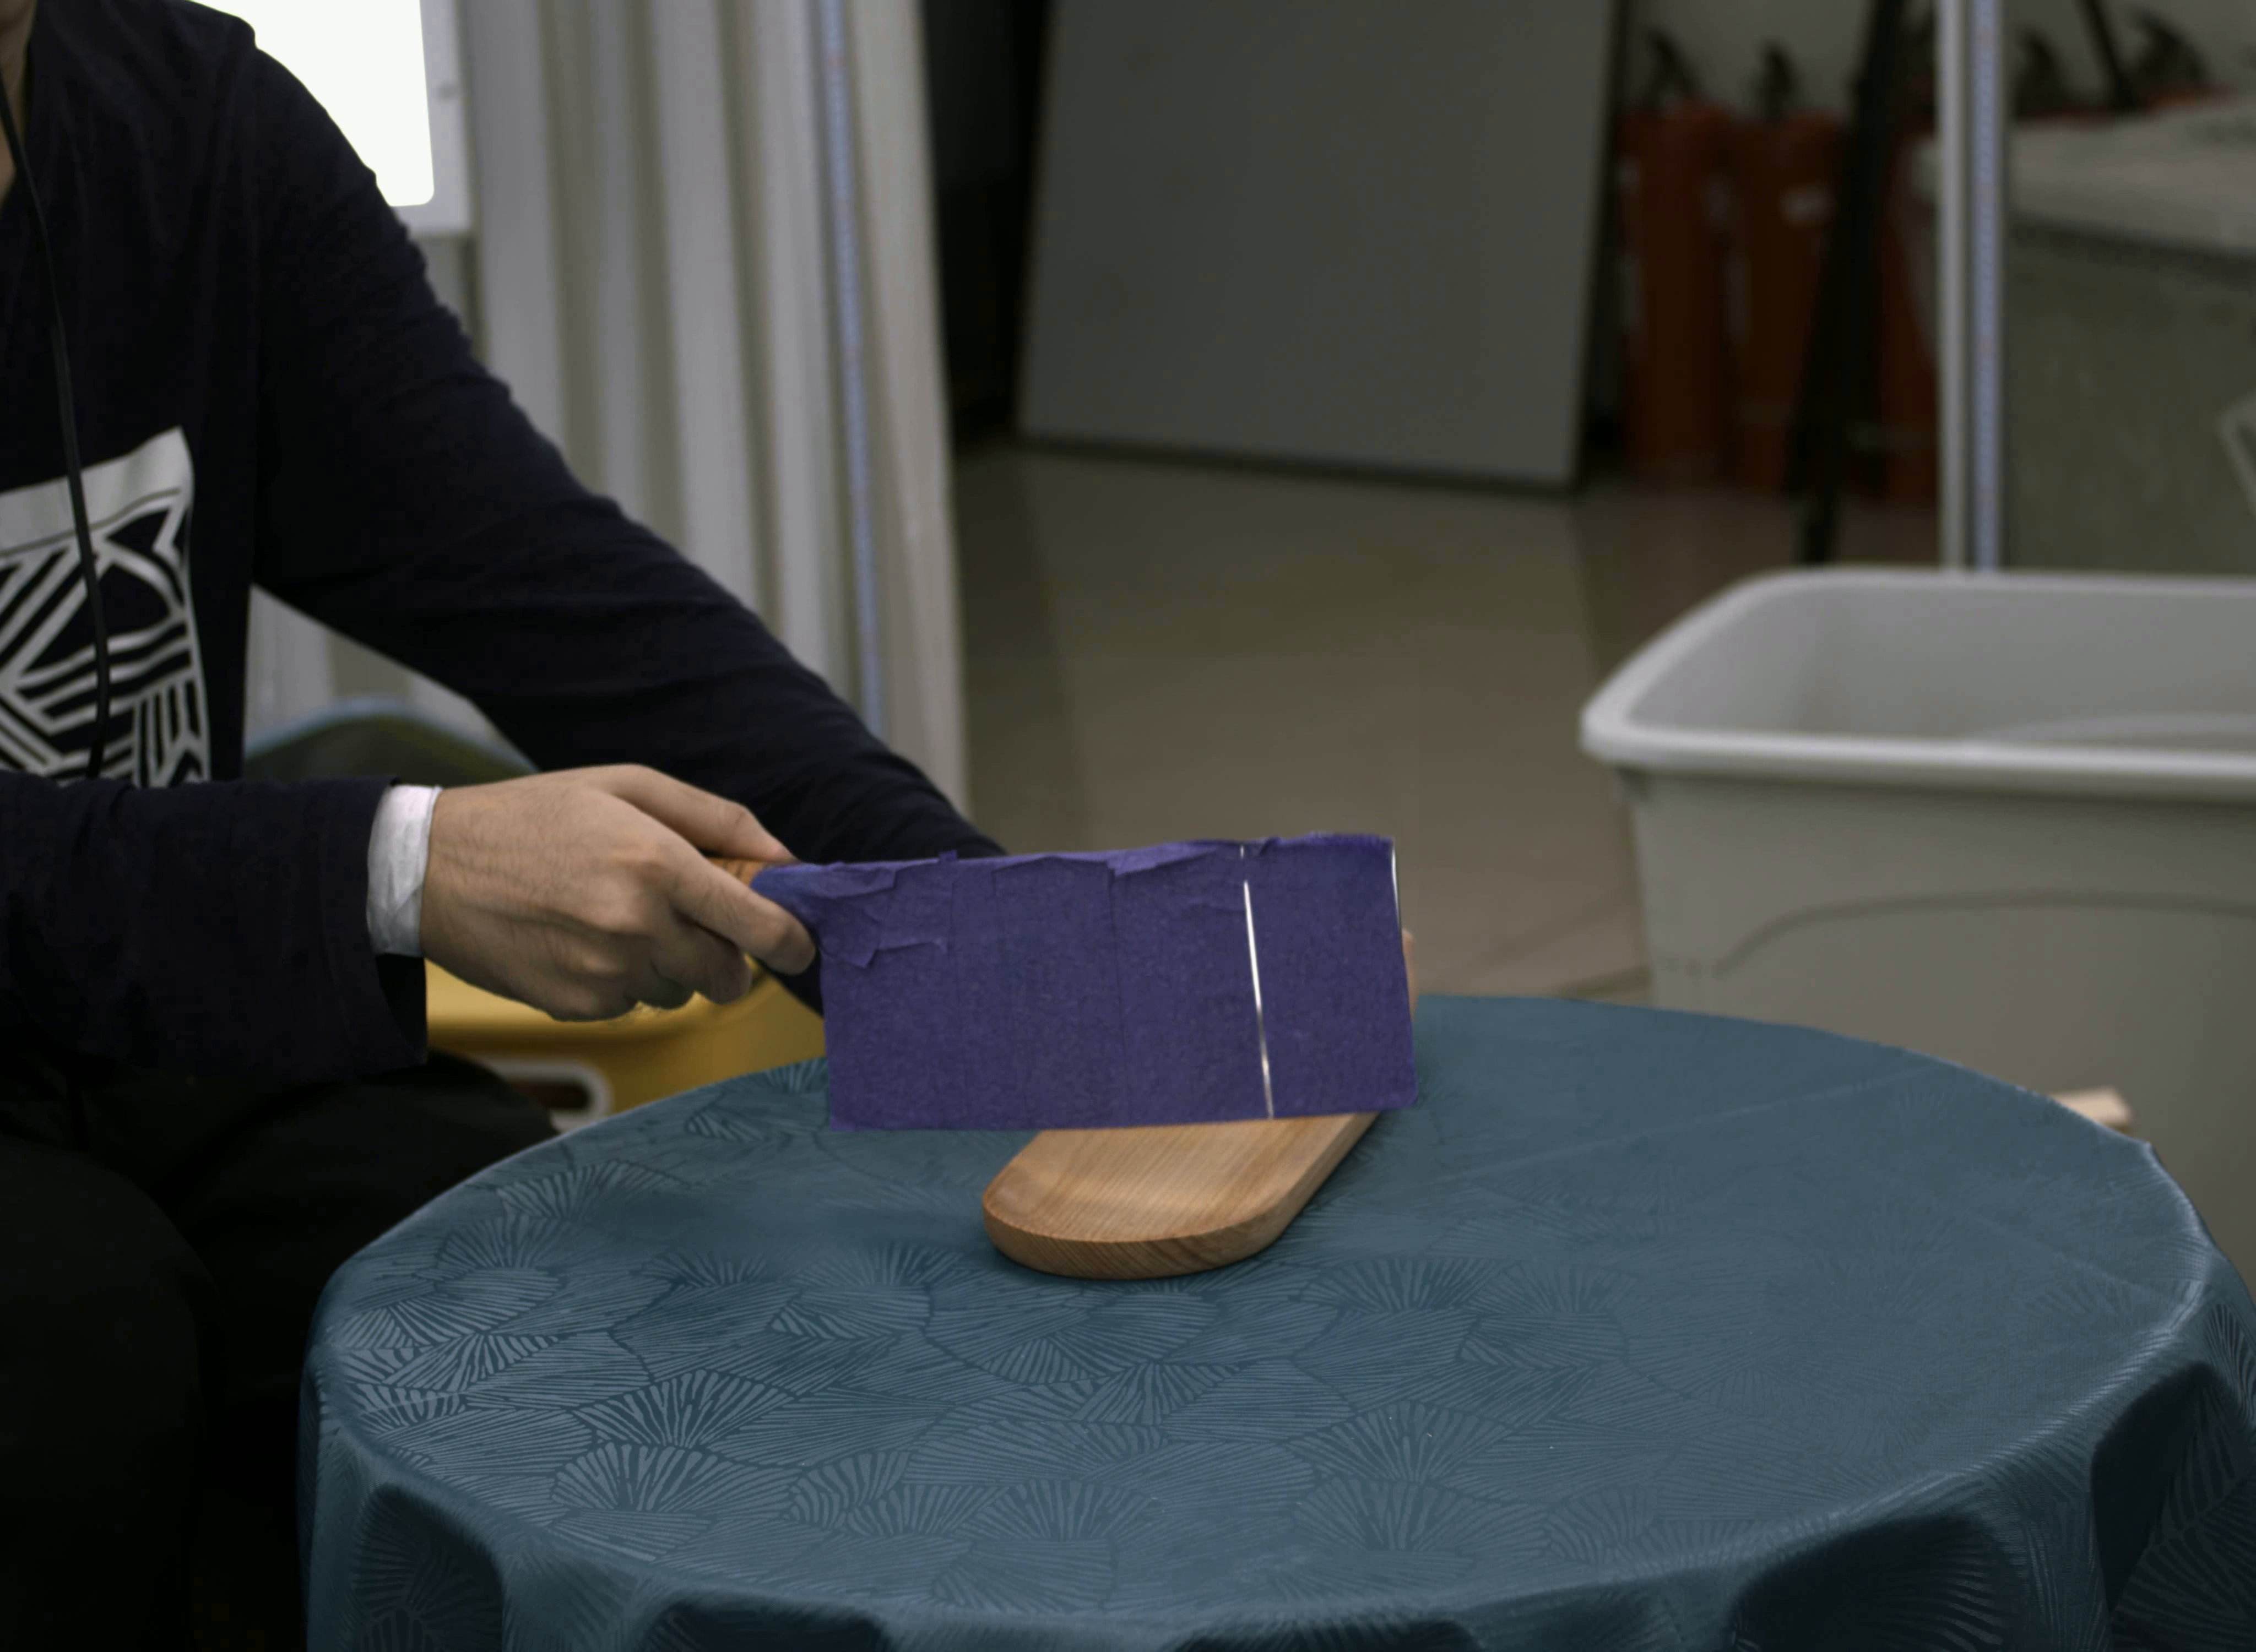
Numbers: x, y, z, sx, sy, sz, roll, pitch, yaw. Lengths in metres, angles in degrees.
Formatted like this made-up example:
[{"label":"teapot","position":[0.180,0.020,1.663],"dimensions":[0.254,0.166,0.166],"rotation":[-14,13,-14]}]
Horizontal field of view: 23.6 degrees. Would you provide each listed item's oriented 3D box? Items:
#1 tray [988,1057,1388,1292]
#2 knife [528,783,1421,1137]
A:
[{"label":"tray","position":[0.023,0.110,1.784],"dimensions":[0.101,0.020,0.229],"rotation":[-2,16,16]},{"label":"knife","position":[-0.054,0.052,1.760],"dimensions":[0.316,0.105,0.032],"rotation":[-6,-2,26]}]
